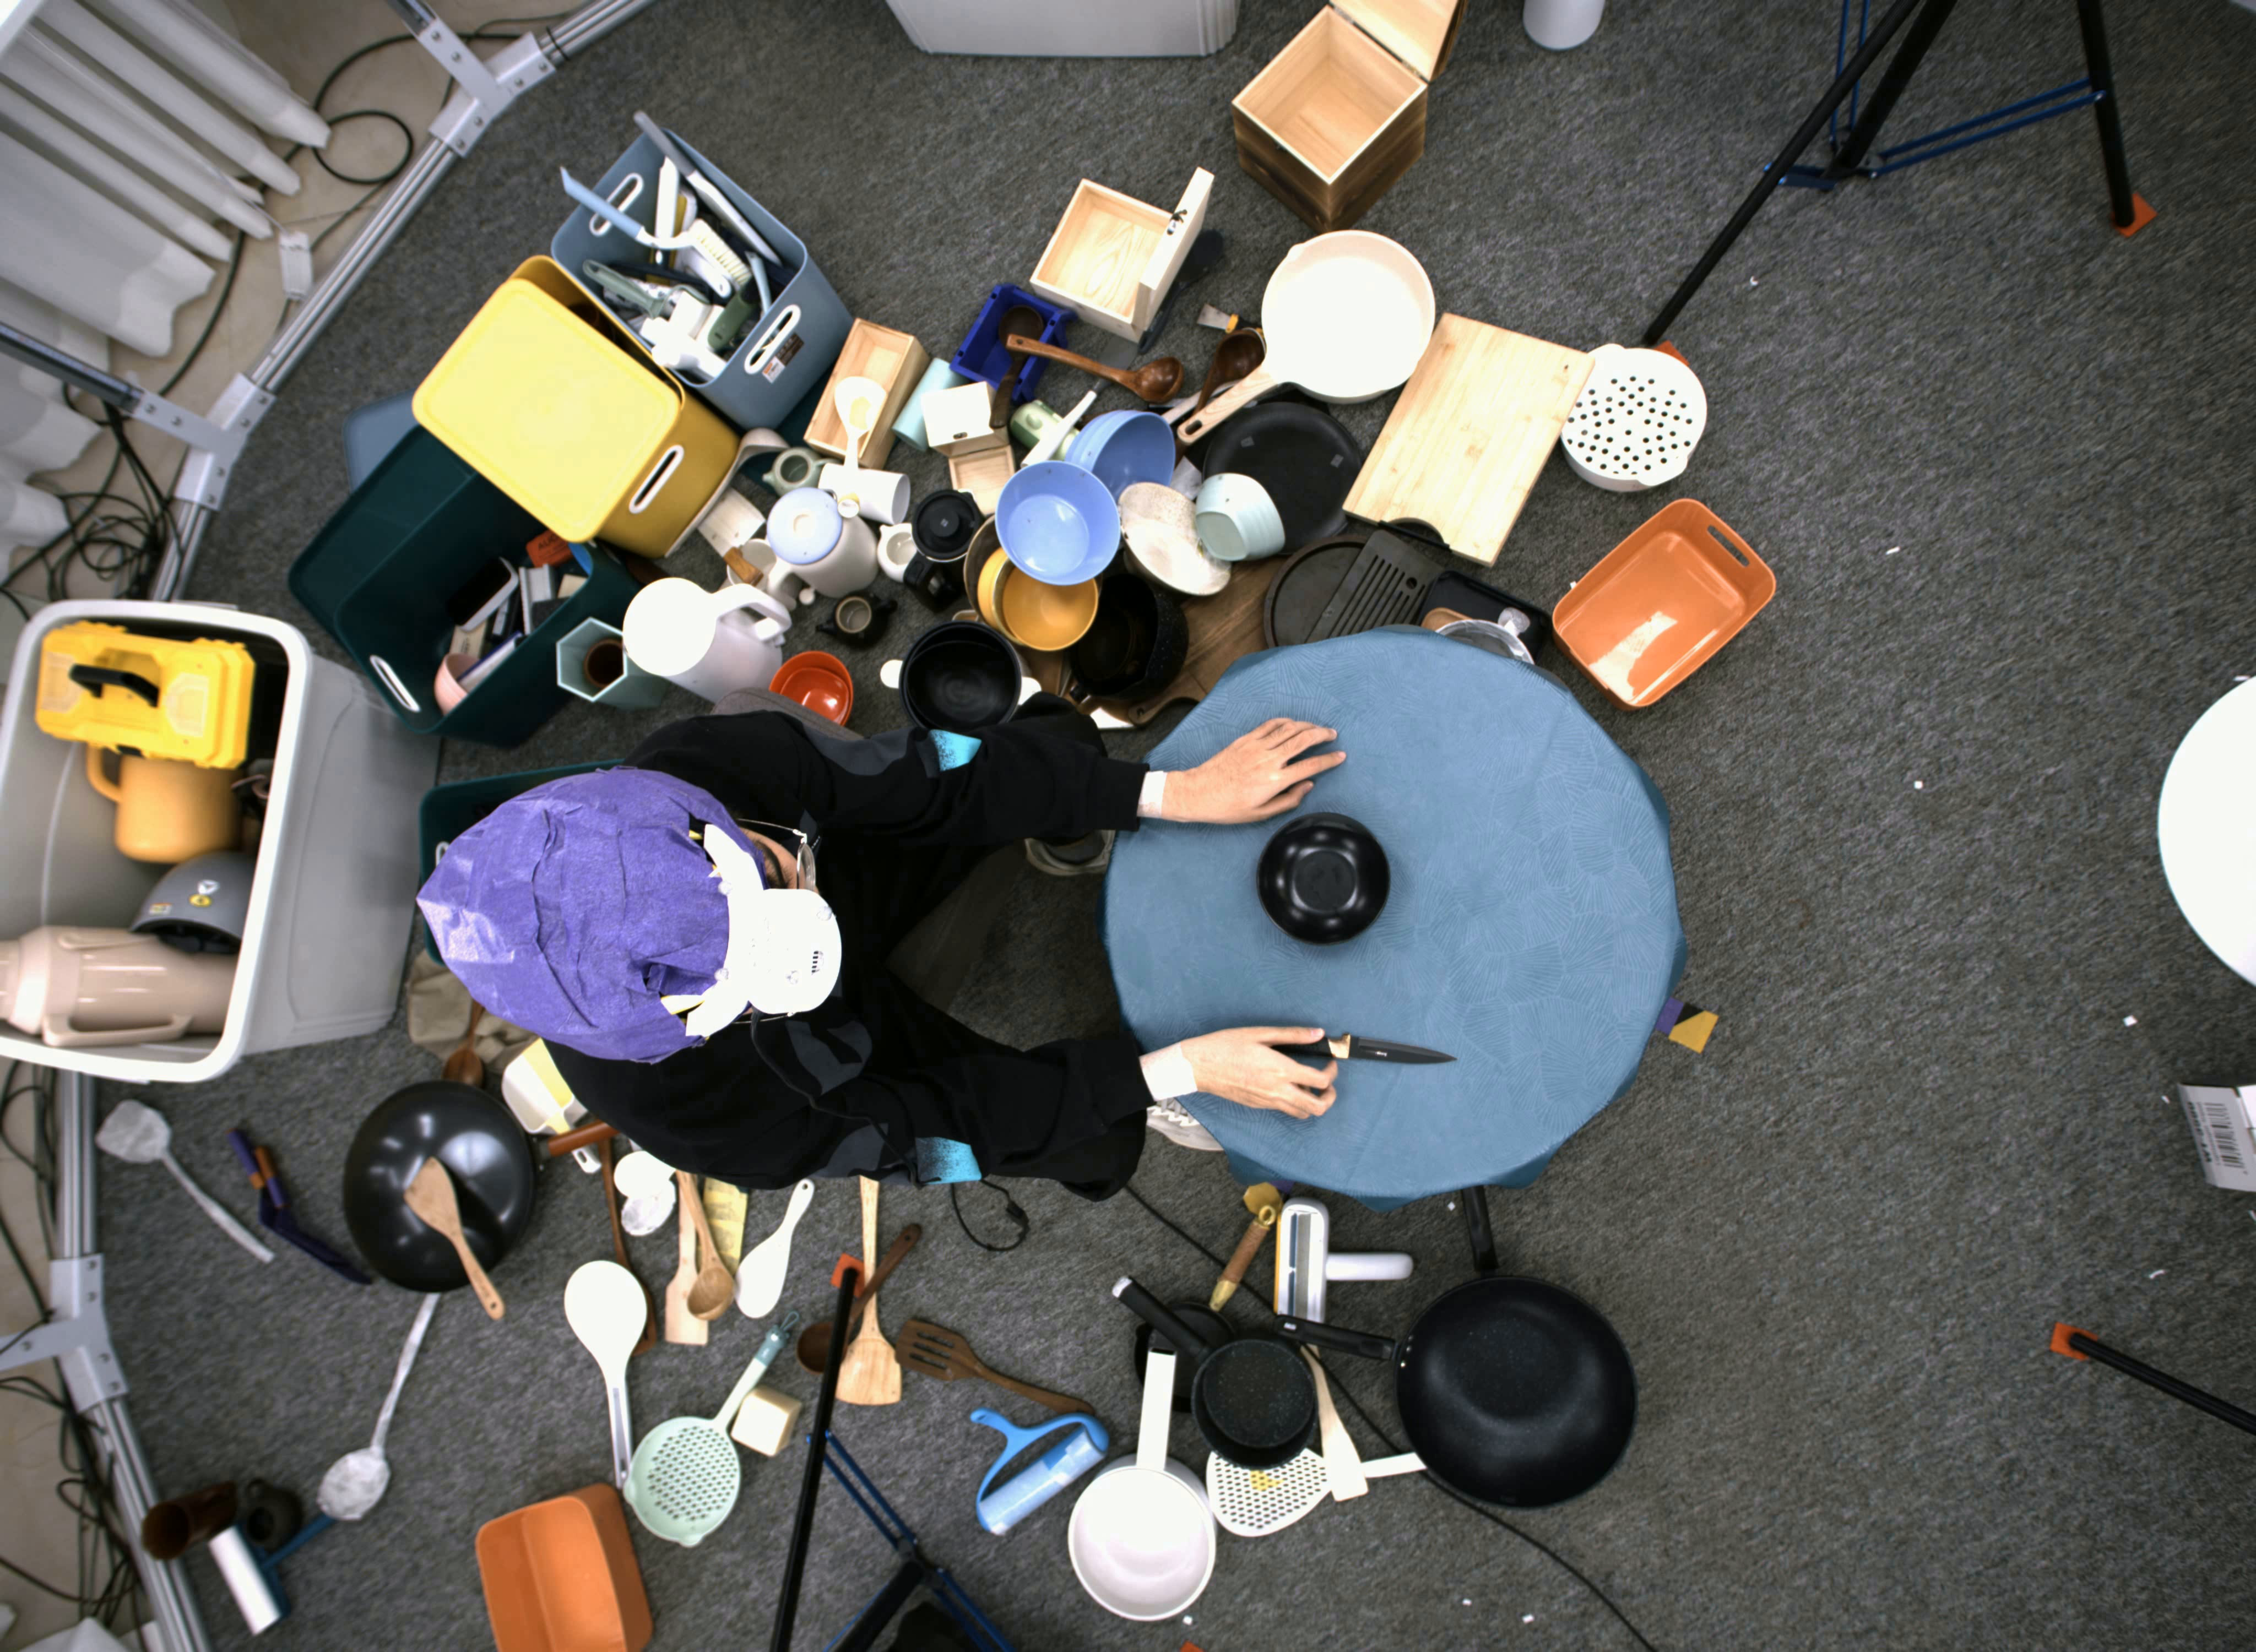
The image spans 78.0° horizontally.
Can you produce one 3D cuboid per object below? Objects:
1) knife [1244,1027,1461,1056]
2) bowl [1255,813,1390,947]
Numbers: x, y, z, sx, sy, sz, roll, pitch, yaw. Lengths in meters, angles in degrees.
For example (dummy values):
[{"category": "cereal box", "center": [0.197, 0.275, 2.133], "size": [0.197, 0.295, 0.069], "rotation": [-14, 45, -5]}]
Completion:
[{"category": "knife", "center": [0.235, 0.227, 1.452], "size": [0.226, 0.017, 0.026], "rotation": [3, 84, 9]}, {"category": "bowl", "center": [0.206, 0.056, 1.451], "size": [0.141, 0.049, 0.139], "rotation": [-1, 89, 14]}]
